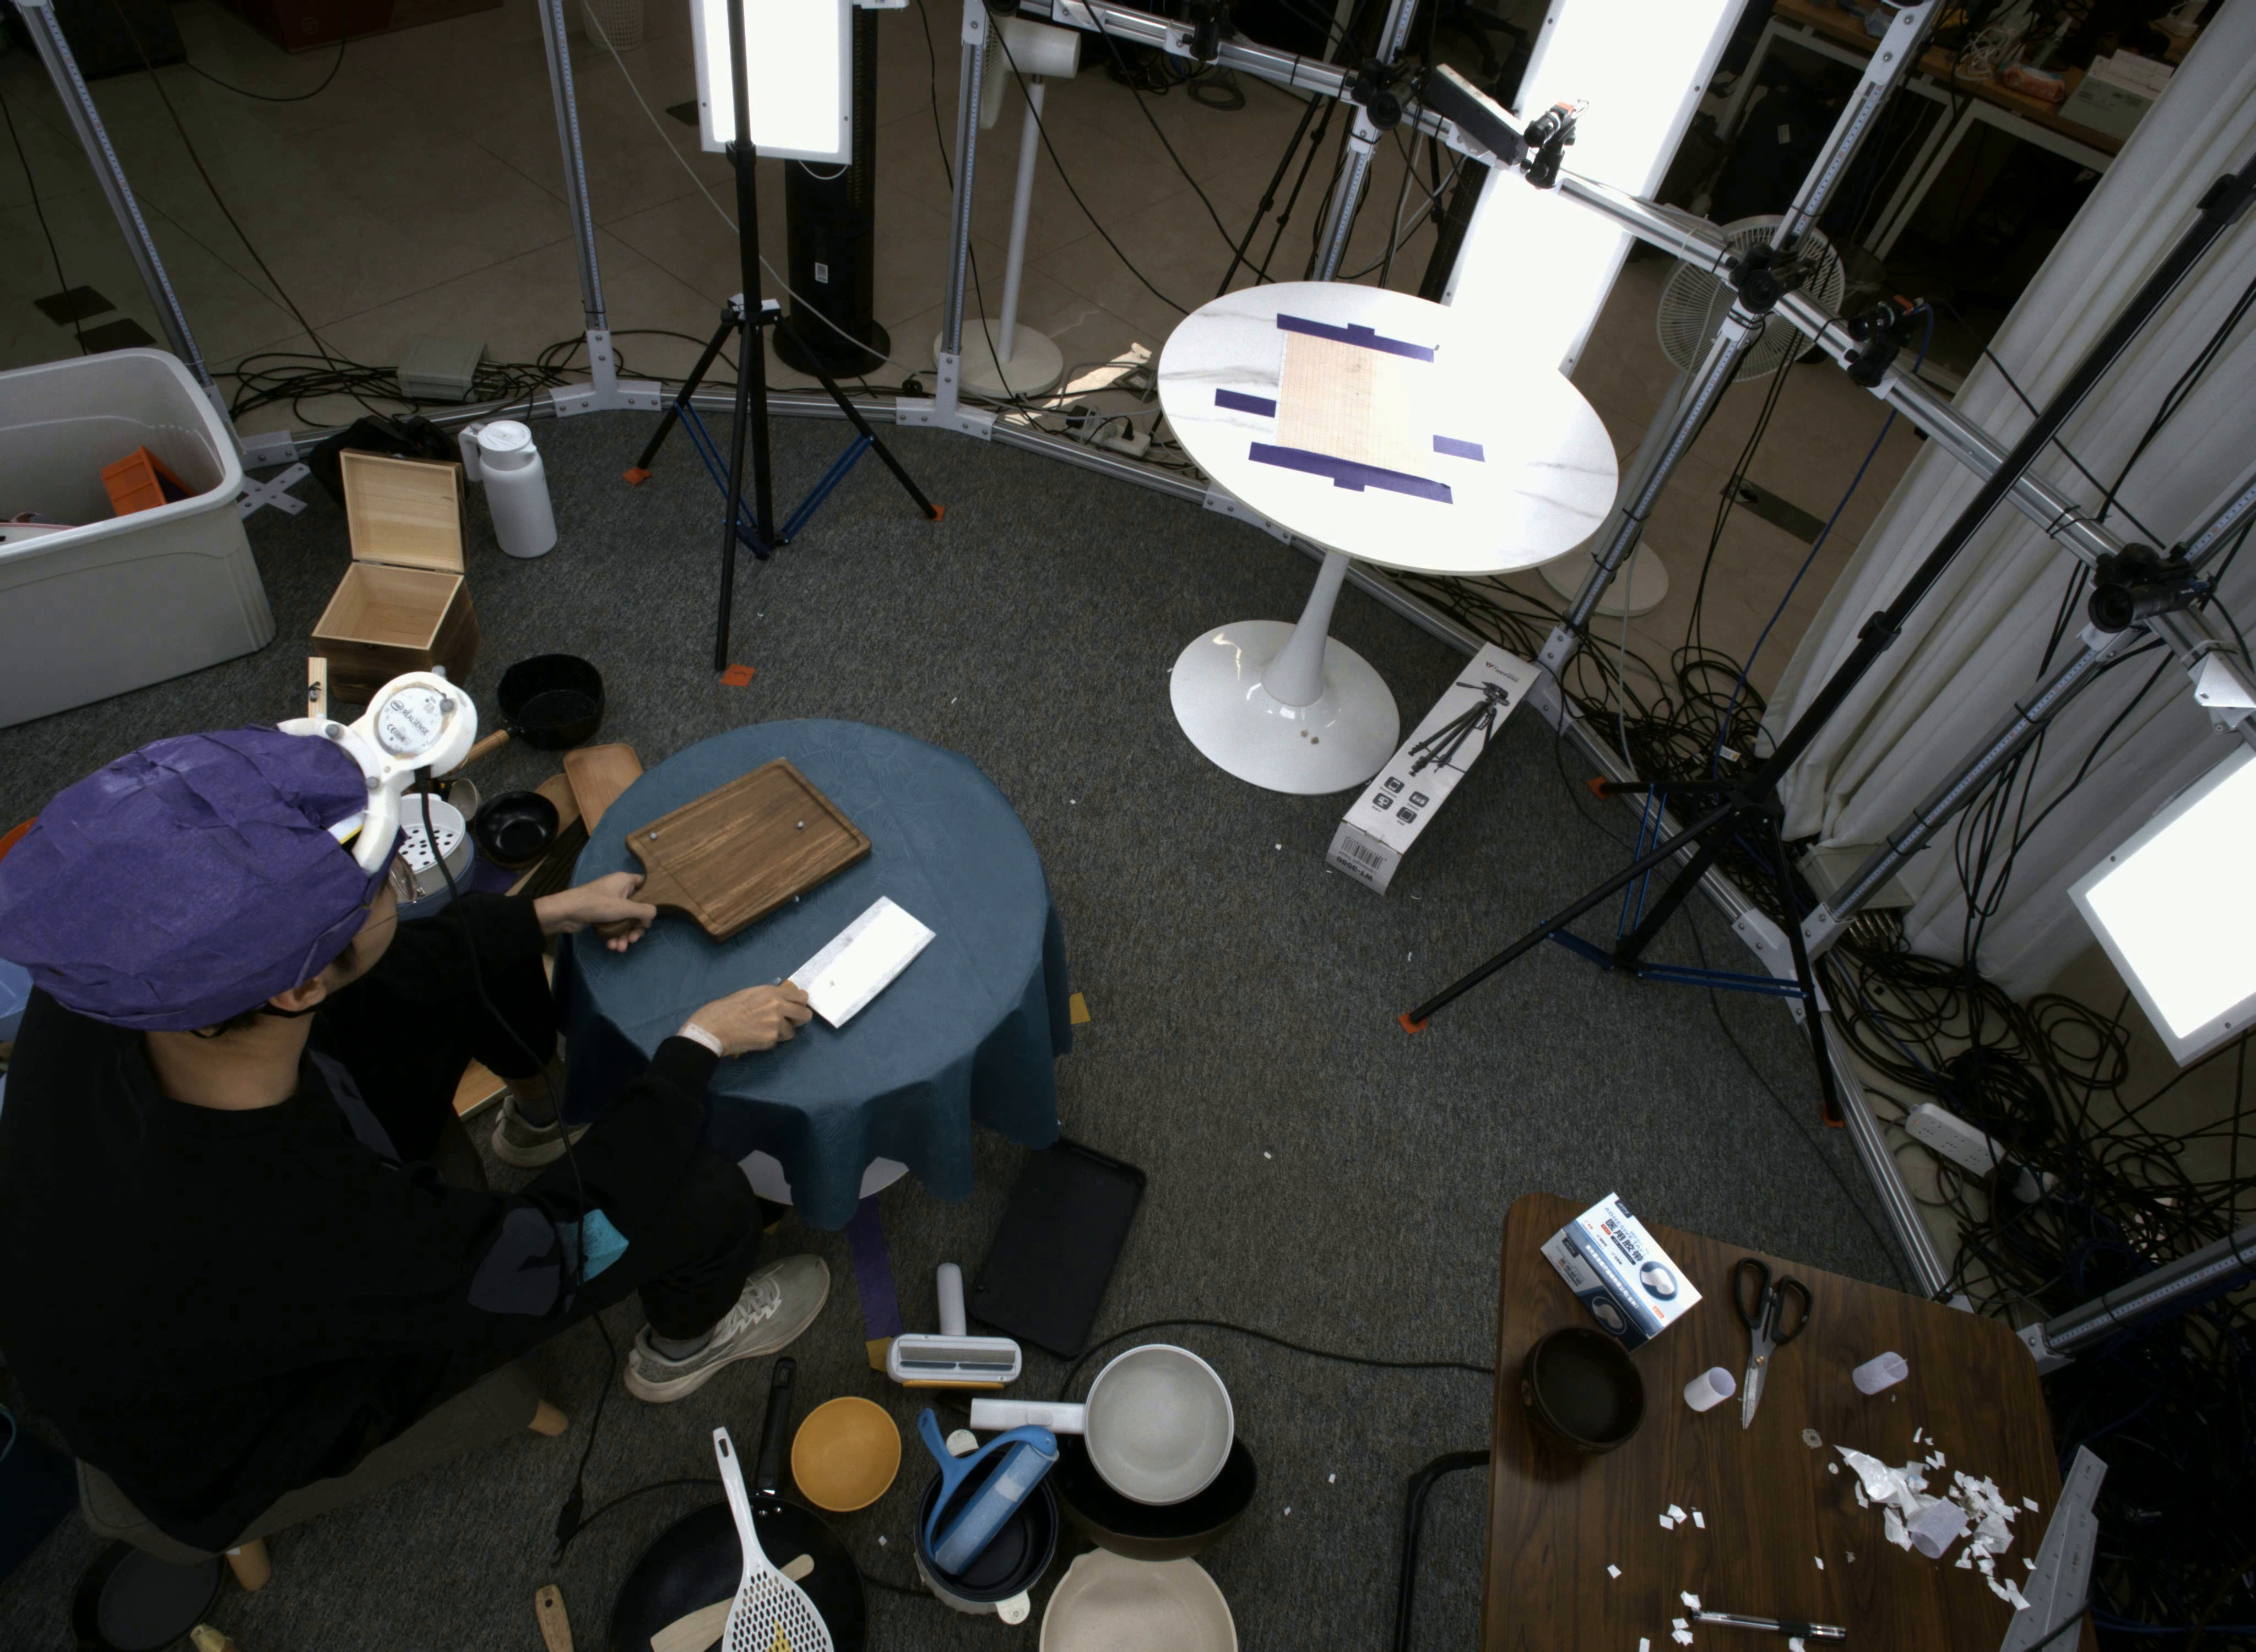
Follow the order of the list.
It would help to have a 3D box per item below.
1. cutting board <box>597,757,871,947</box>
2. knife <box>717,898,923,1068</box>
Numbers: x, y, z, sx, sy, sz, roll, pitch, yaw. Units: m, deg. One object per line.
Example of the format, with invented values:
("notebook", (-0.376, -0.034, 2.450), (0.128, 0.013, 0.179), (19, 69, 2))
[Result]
("cutting board", (-0.517, 0.046, 1.624), (0.197, 0.023, 0.353), (41, 50, 16))
("knife", (-0.360, 0.194, 1.566), (0.091, 0.021, 0.305), (37, 49, 9))
